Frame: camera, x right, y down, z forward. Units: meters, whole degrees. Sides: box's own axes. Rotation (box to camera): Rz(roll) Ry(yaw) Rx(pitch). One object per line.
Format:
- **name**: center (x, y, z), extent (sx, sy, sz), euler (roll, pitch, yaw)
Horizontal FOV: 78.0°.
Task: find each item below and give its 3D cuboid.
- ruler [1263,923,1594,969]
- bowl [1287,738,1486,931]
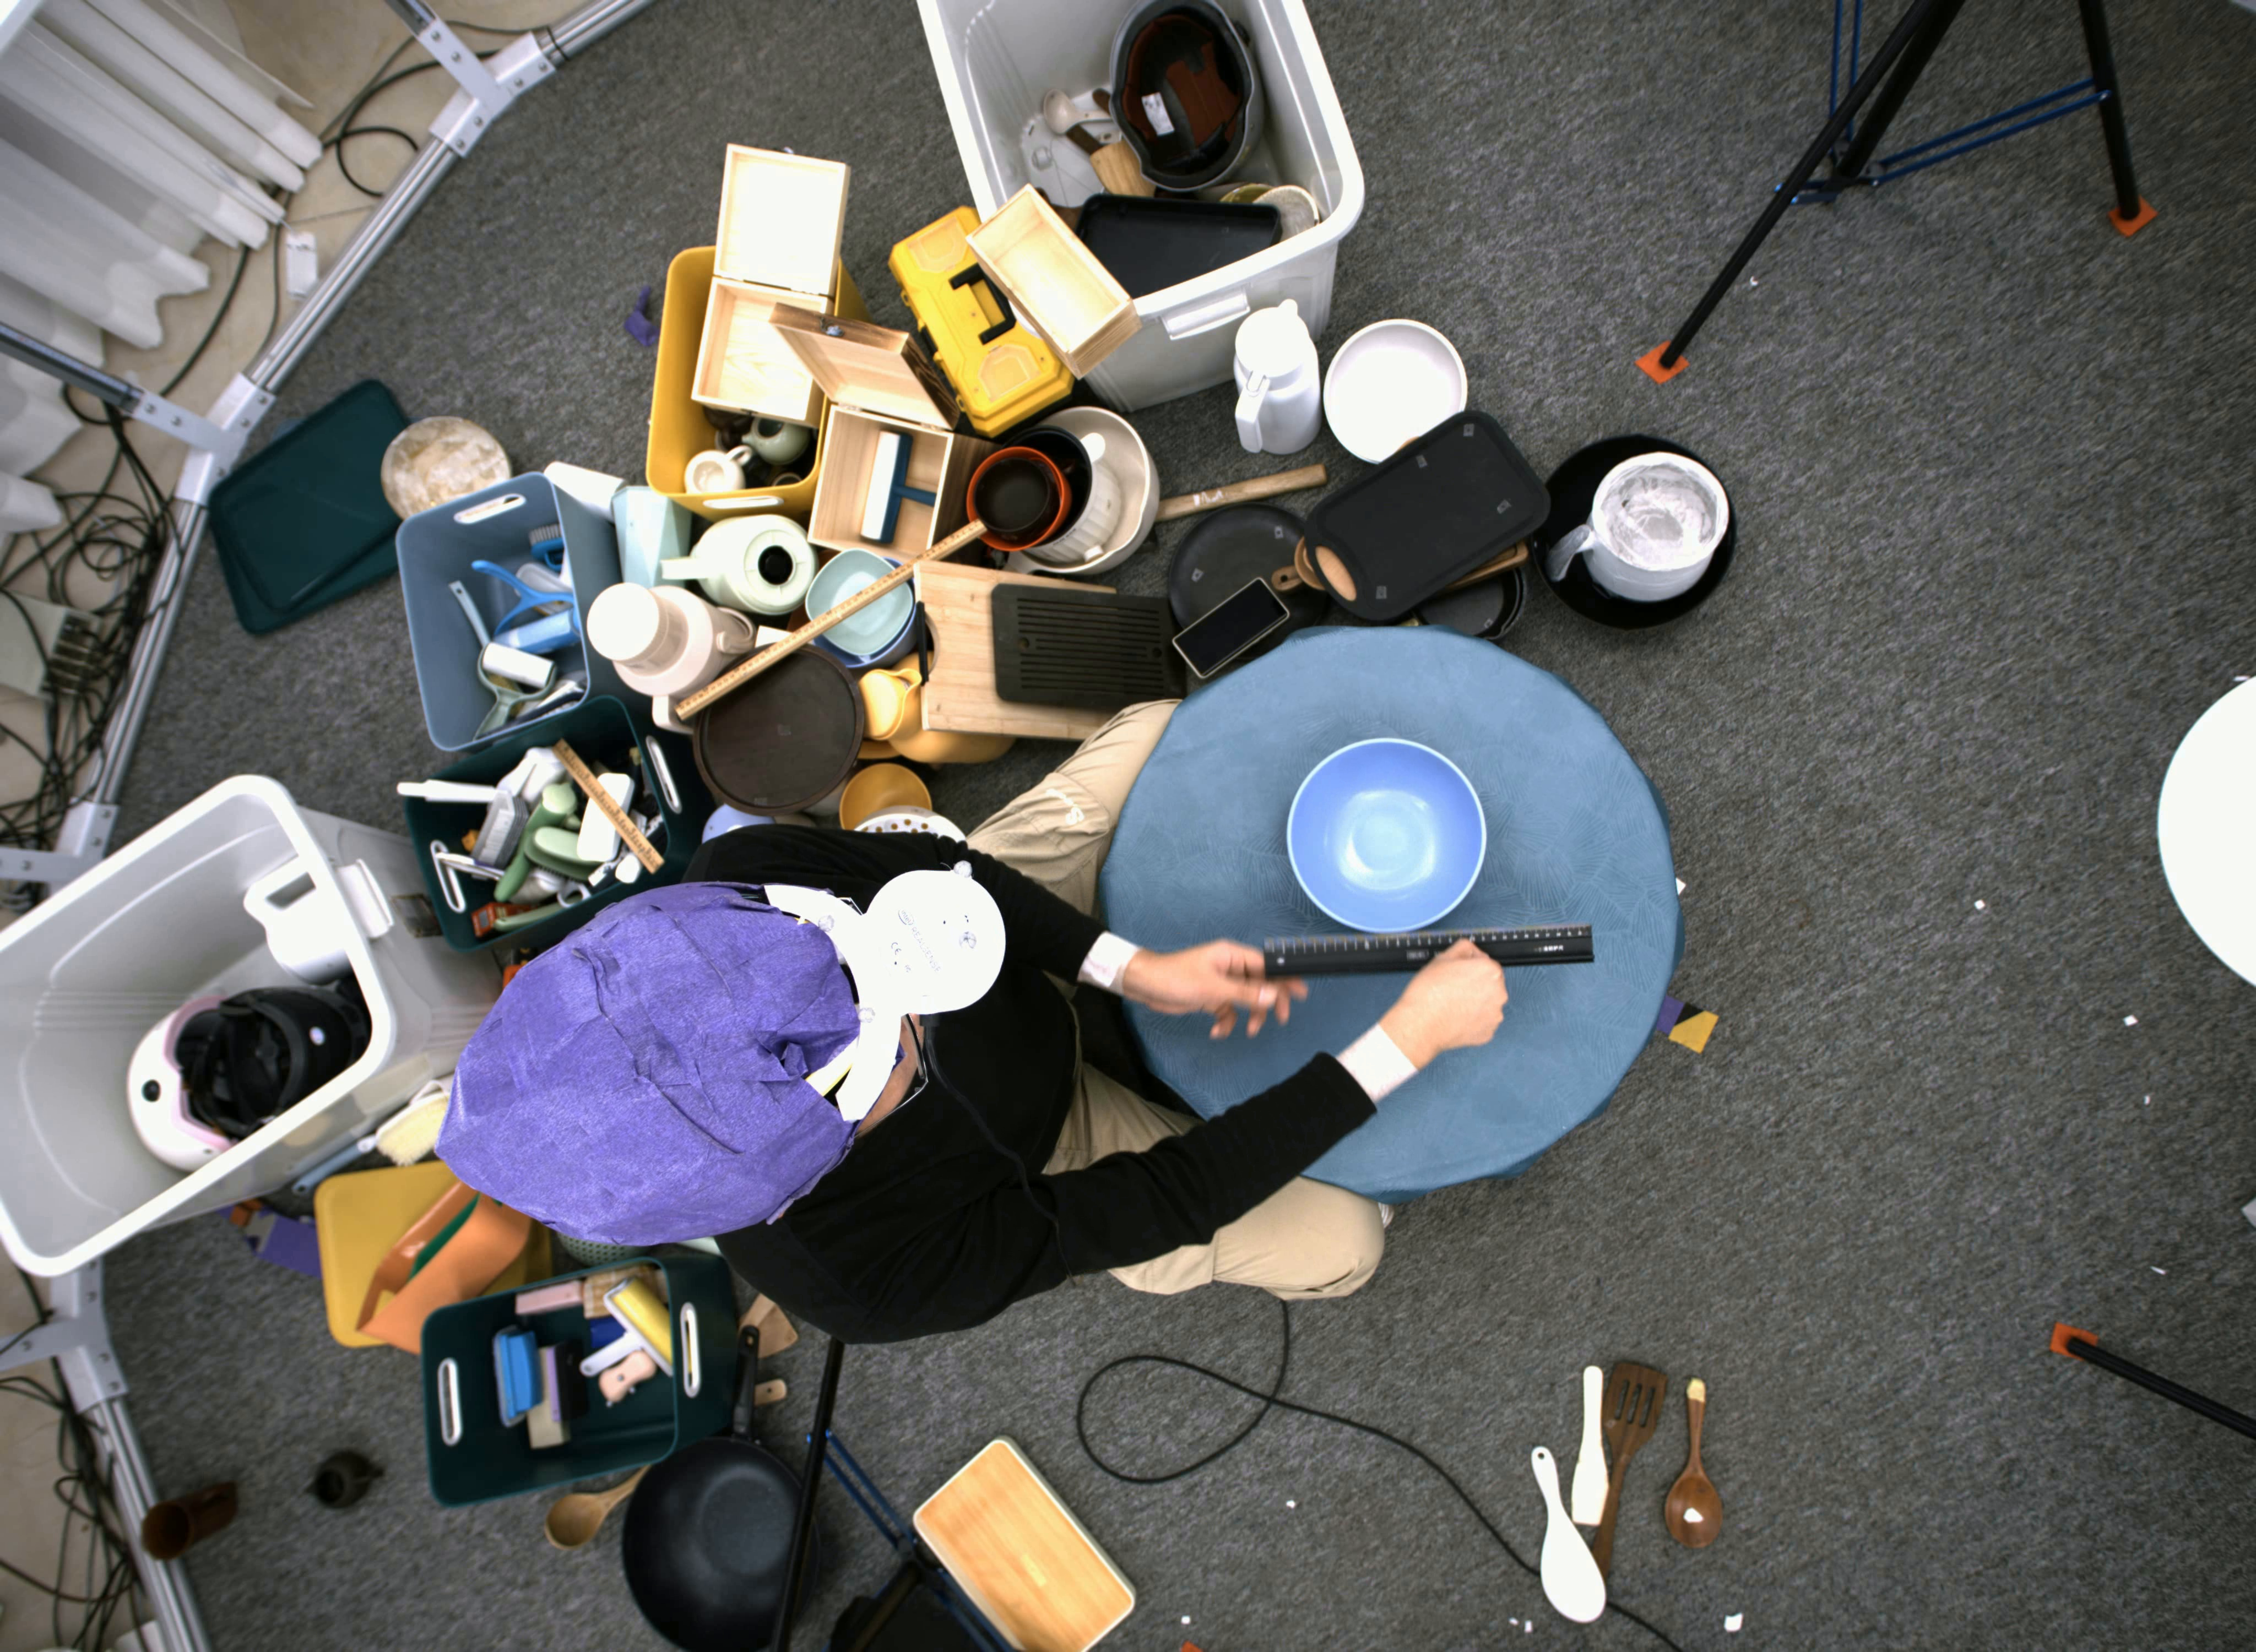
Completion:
- **ruler**: center (0.284, 0.113, 1.322), extent (0.314, 0.017, 0.039), euler (-3, 88, 13)
- **bowl**: center (0.264, 0.013, 1.416), extent (0.197, 0.095, 0.195), euler (-1, 86, 10)
